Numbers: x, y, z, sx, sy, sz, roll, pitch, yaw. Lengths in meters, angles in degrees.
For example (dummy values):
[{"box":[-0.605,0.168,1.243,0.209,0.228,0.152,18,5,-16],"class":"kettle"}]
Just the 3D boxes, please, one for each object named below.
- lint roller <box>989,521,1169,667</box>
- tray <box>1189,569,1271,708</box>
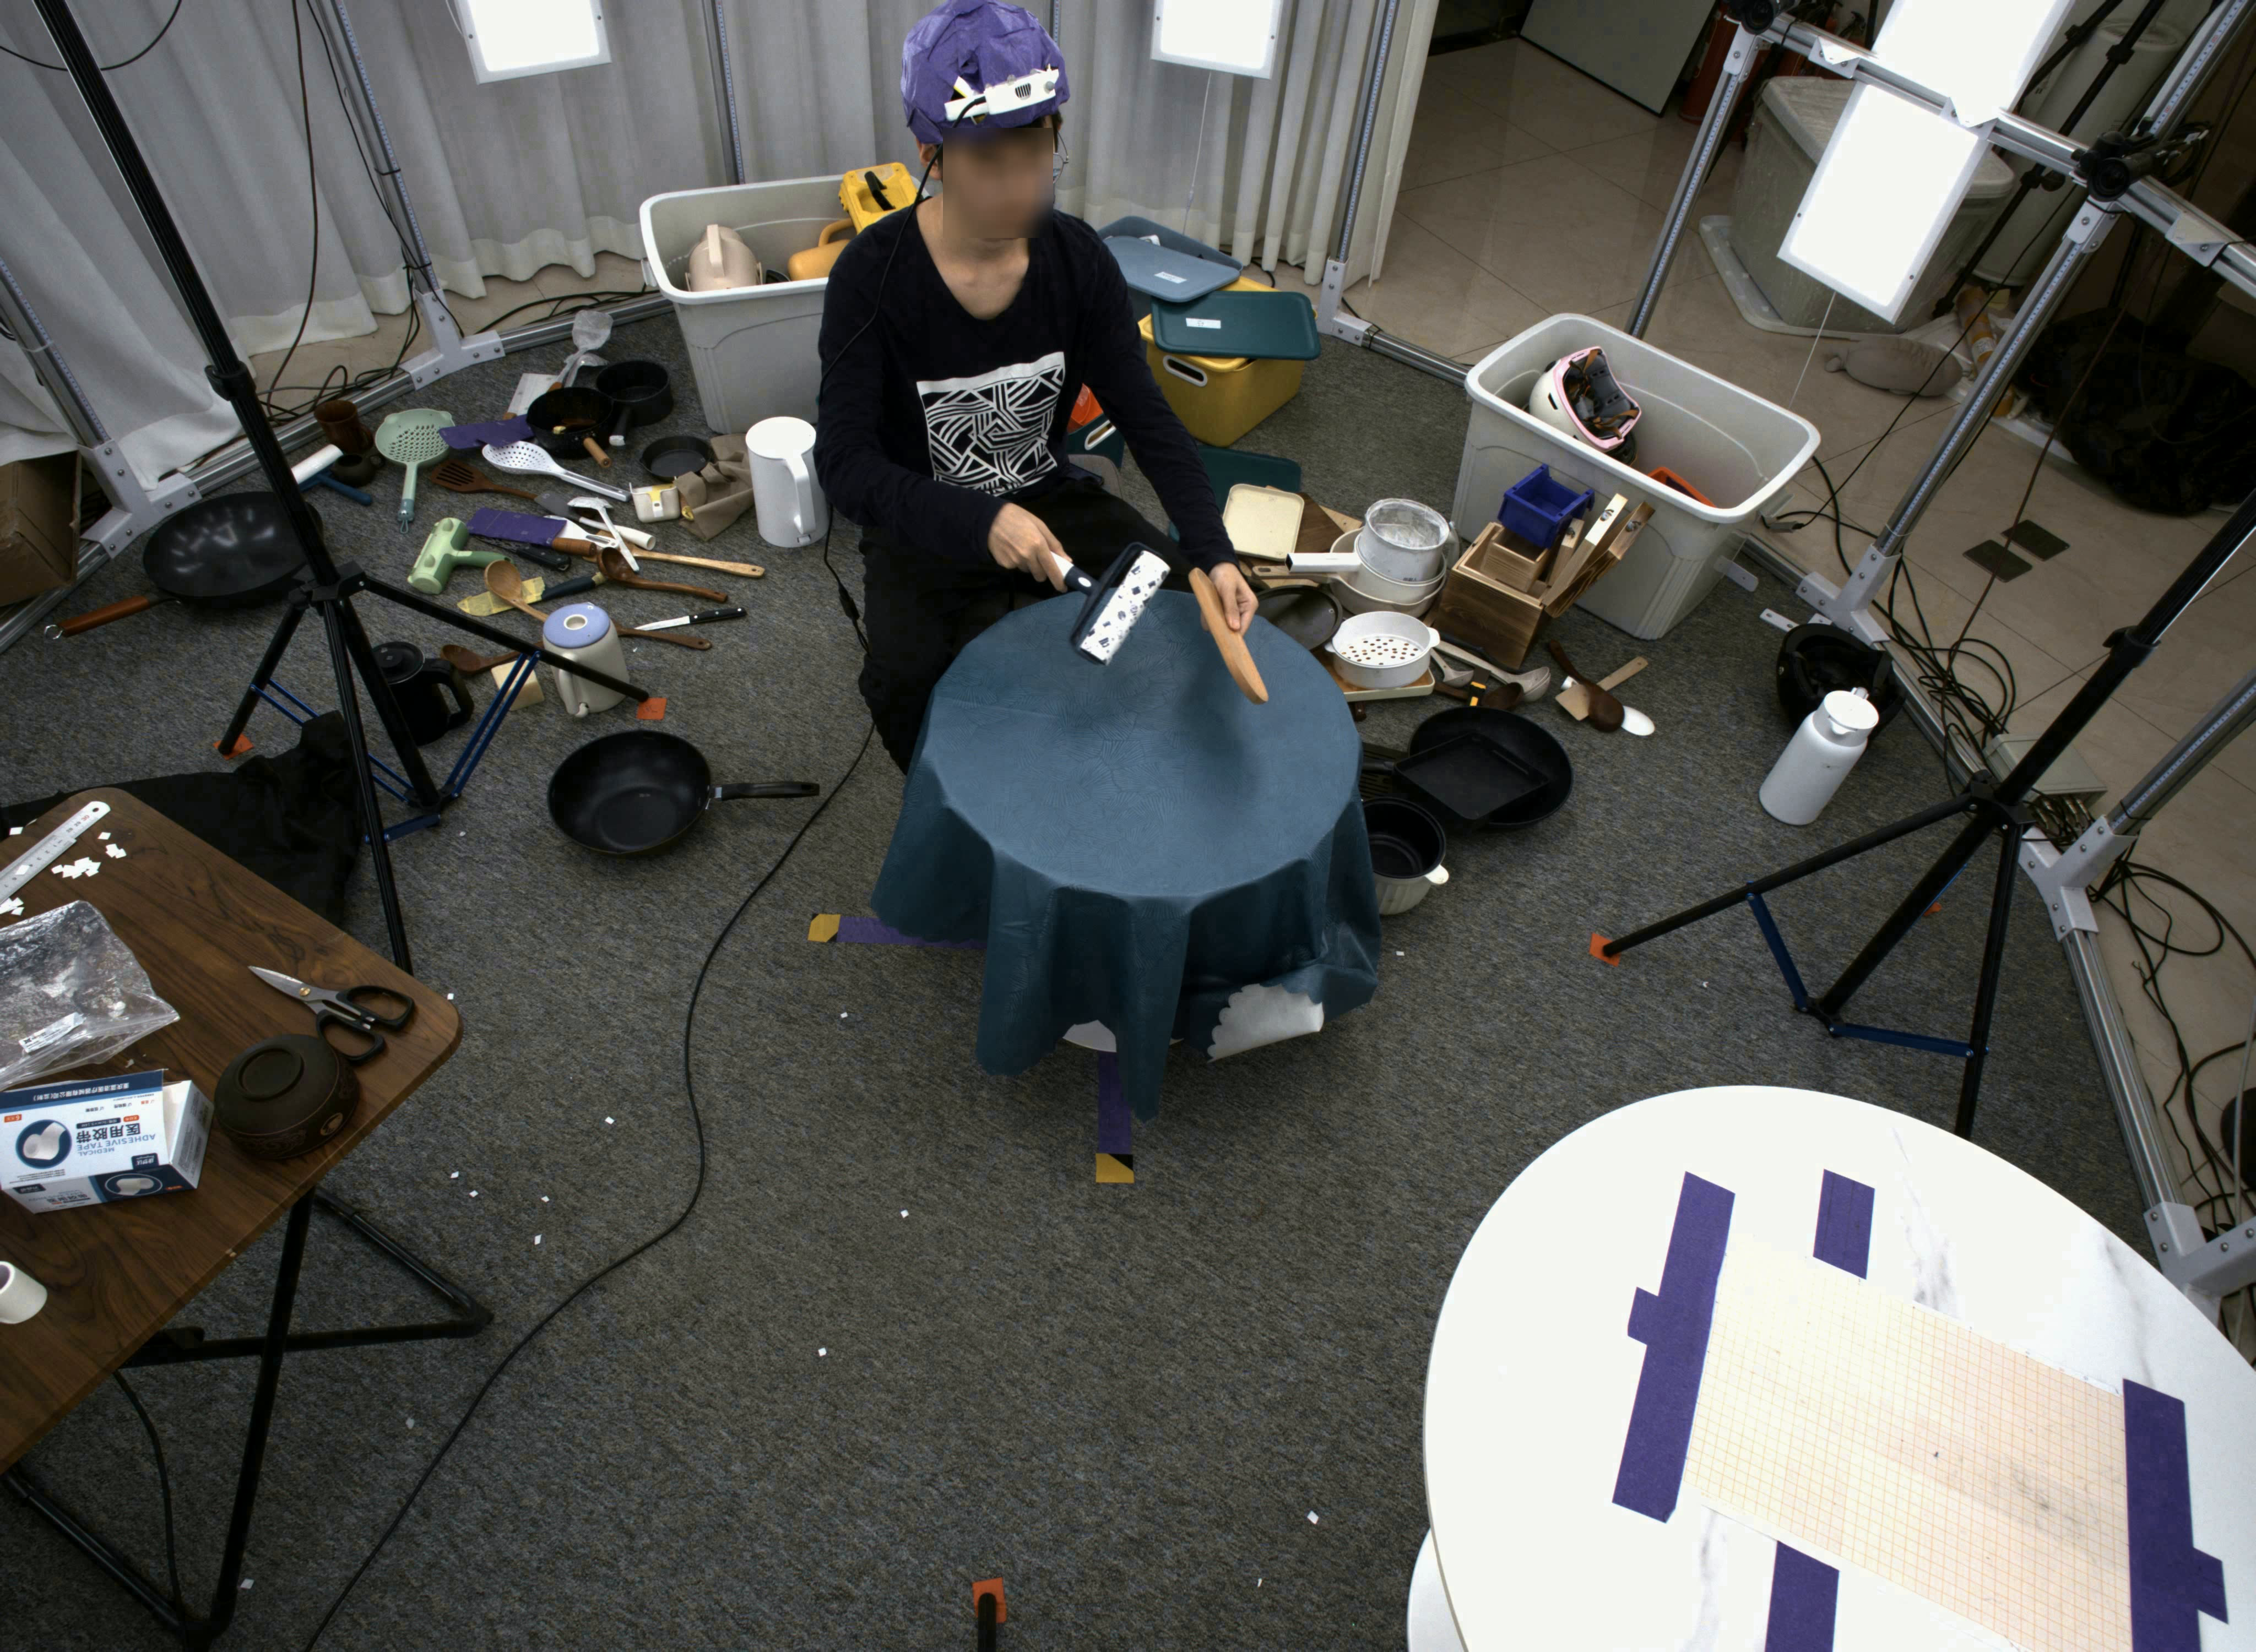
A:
[{"box":[-0.089,-0.353,1.782,0.248,0.050,0.177,32,87,8],"class":"lint roller"},{"box":[0.137,-0.255,1.739,0.020,0.100,0.236,-31,58,20],"class":"tray"}]
